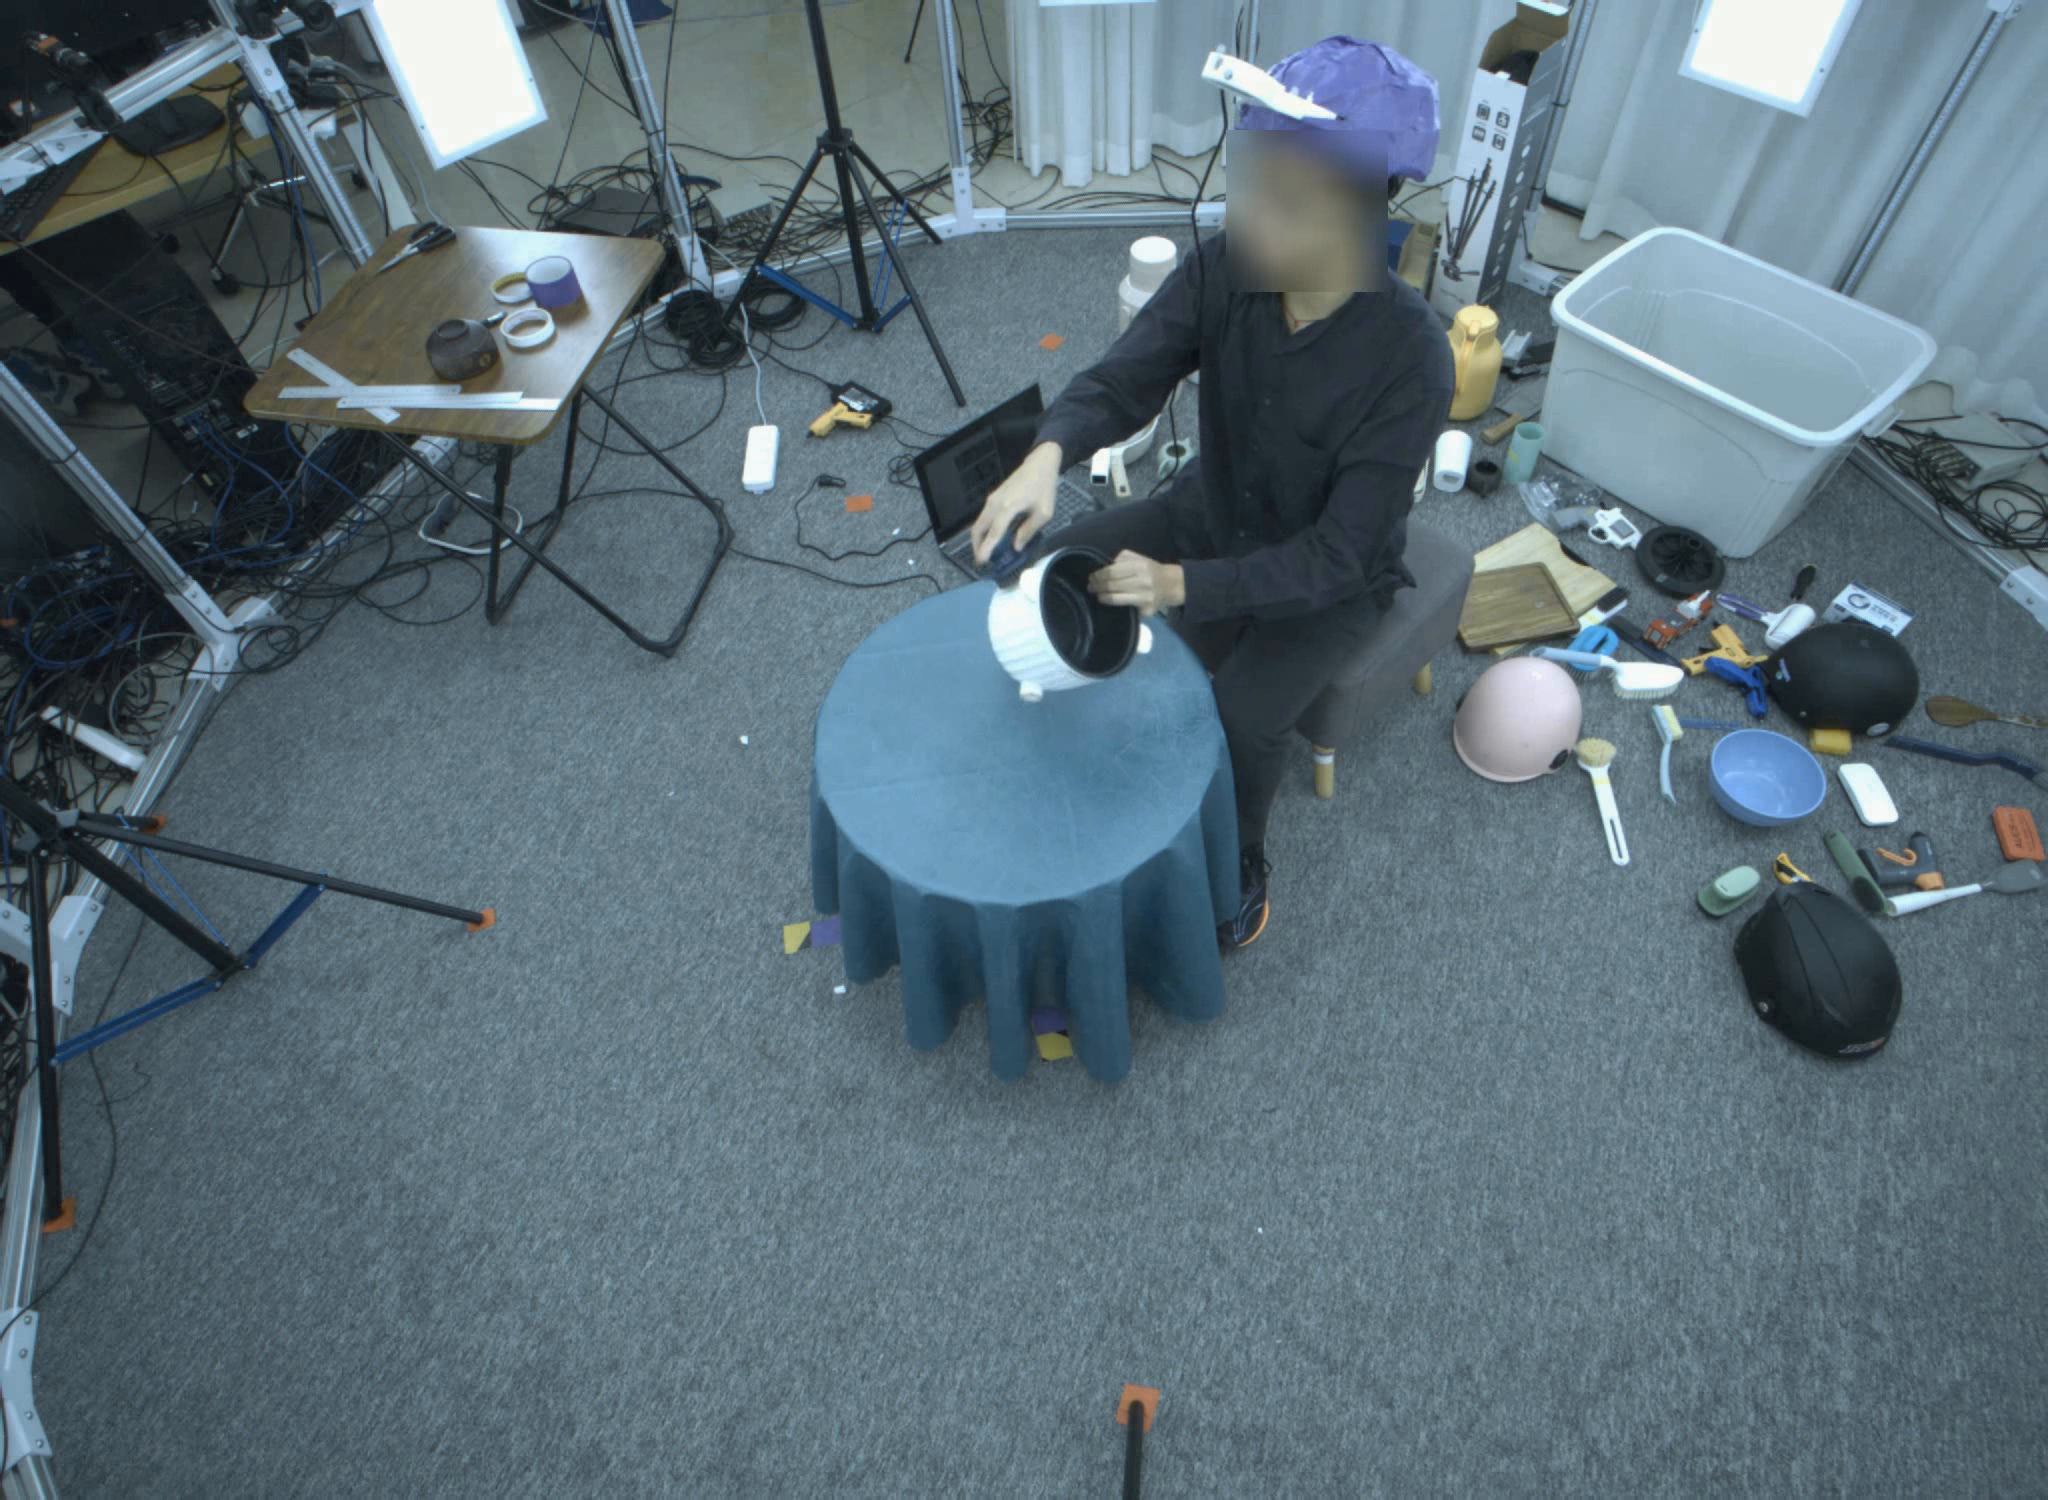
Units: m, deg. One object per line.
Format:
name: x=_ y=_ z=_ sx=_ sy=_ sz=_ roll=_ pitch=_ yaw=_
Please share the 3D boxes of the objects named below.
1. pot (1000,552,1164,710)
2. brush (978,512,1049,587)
pot: x=0.063 y=-0.156 z=1.663 sx=0.246 sy=0.140 sz=0.189 roll=19 pitch=67 yaw=-38
brush: x=-0.012 y=-0.267 z=1.640 sx=0.067 sy=0.062 sz=0.122 roll=-19 pitch=28 yaw=40
